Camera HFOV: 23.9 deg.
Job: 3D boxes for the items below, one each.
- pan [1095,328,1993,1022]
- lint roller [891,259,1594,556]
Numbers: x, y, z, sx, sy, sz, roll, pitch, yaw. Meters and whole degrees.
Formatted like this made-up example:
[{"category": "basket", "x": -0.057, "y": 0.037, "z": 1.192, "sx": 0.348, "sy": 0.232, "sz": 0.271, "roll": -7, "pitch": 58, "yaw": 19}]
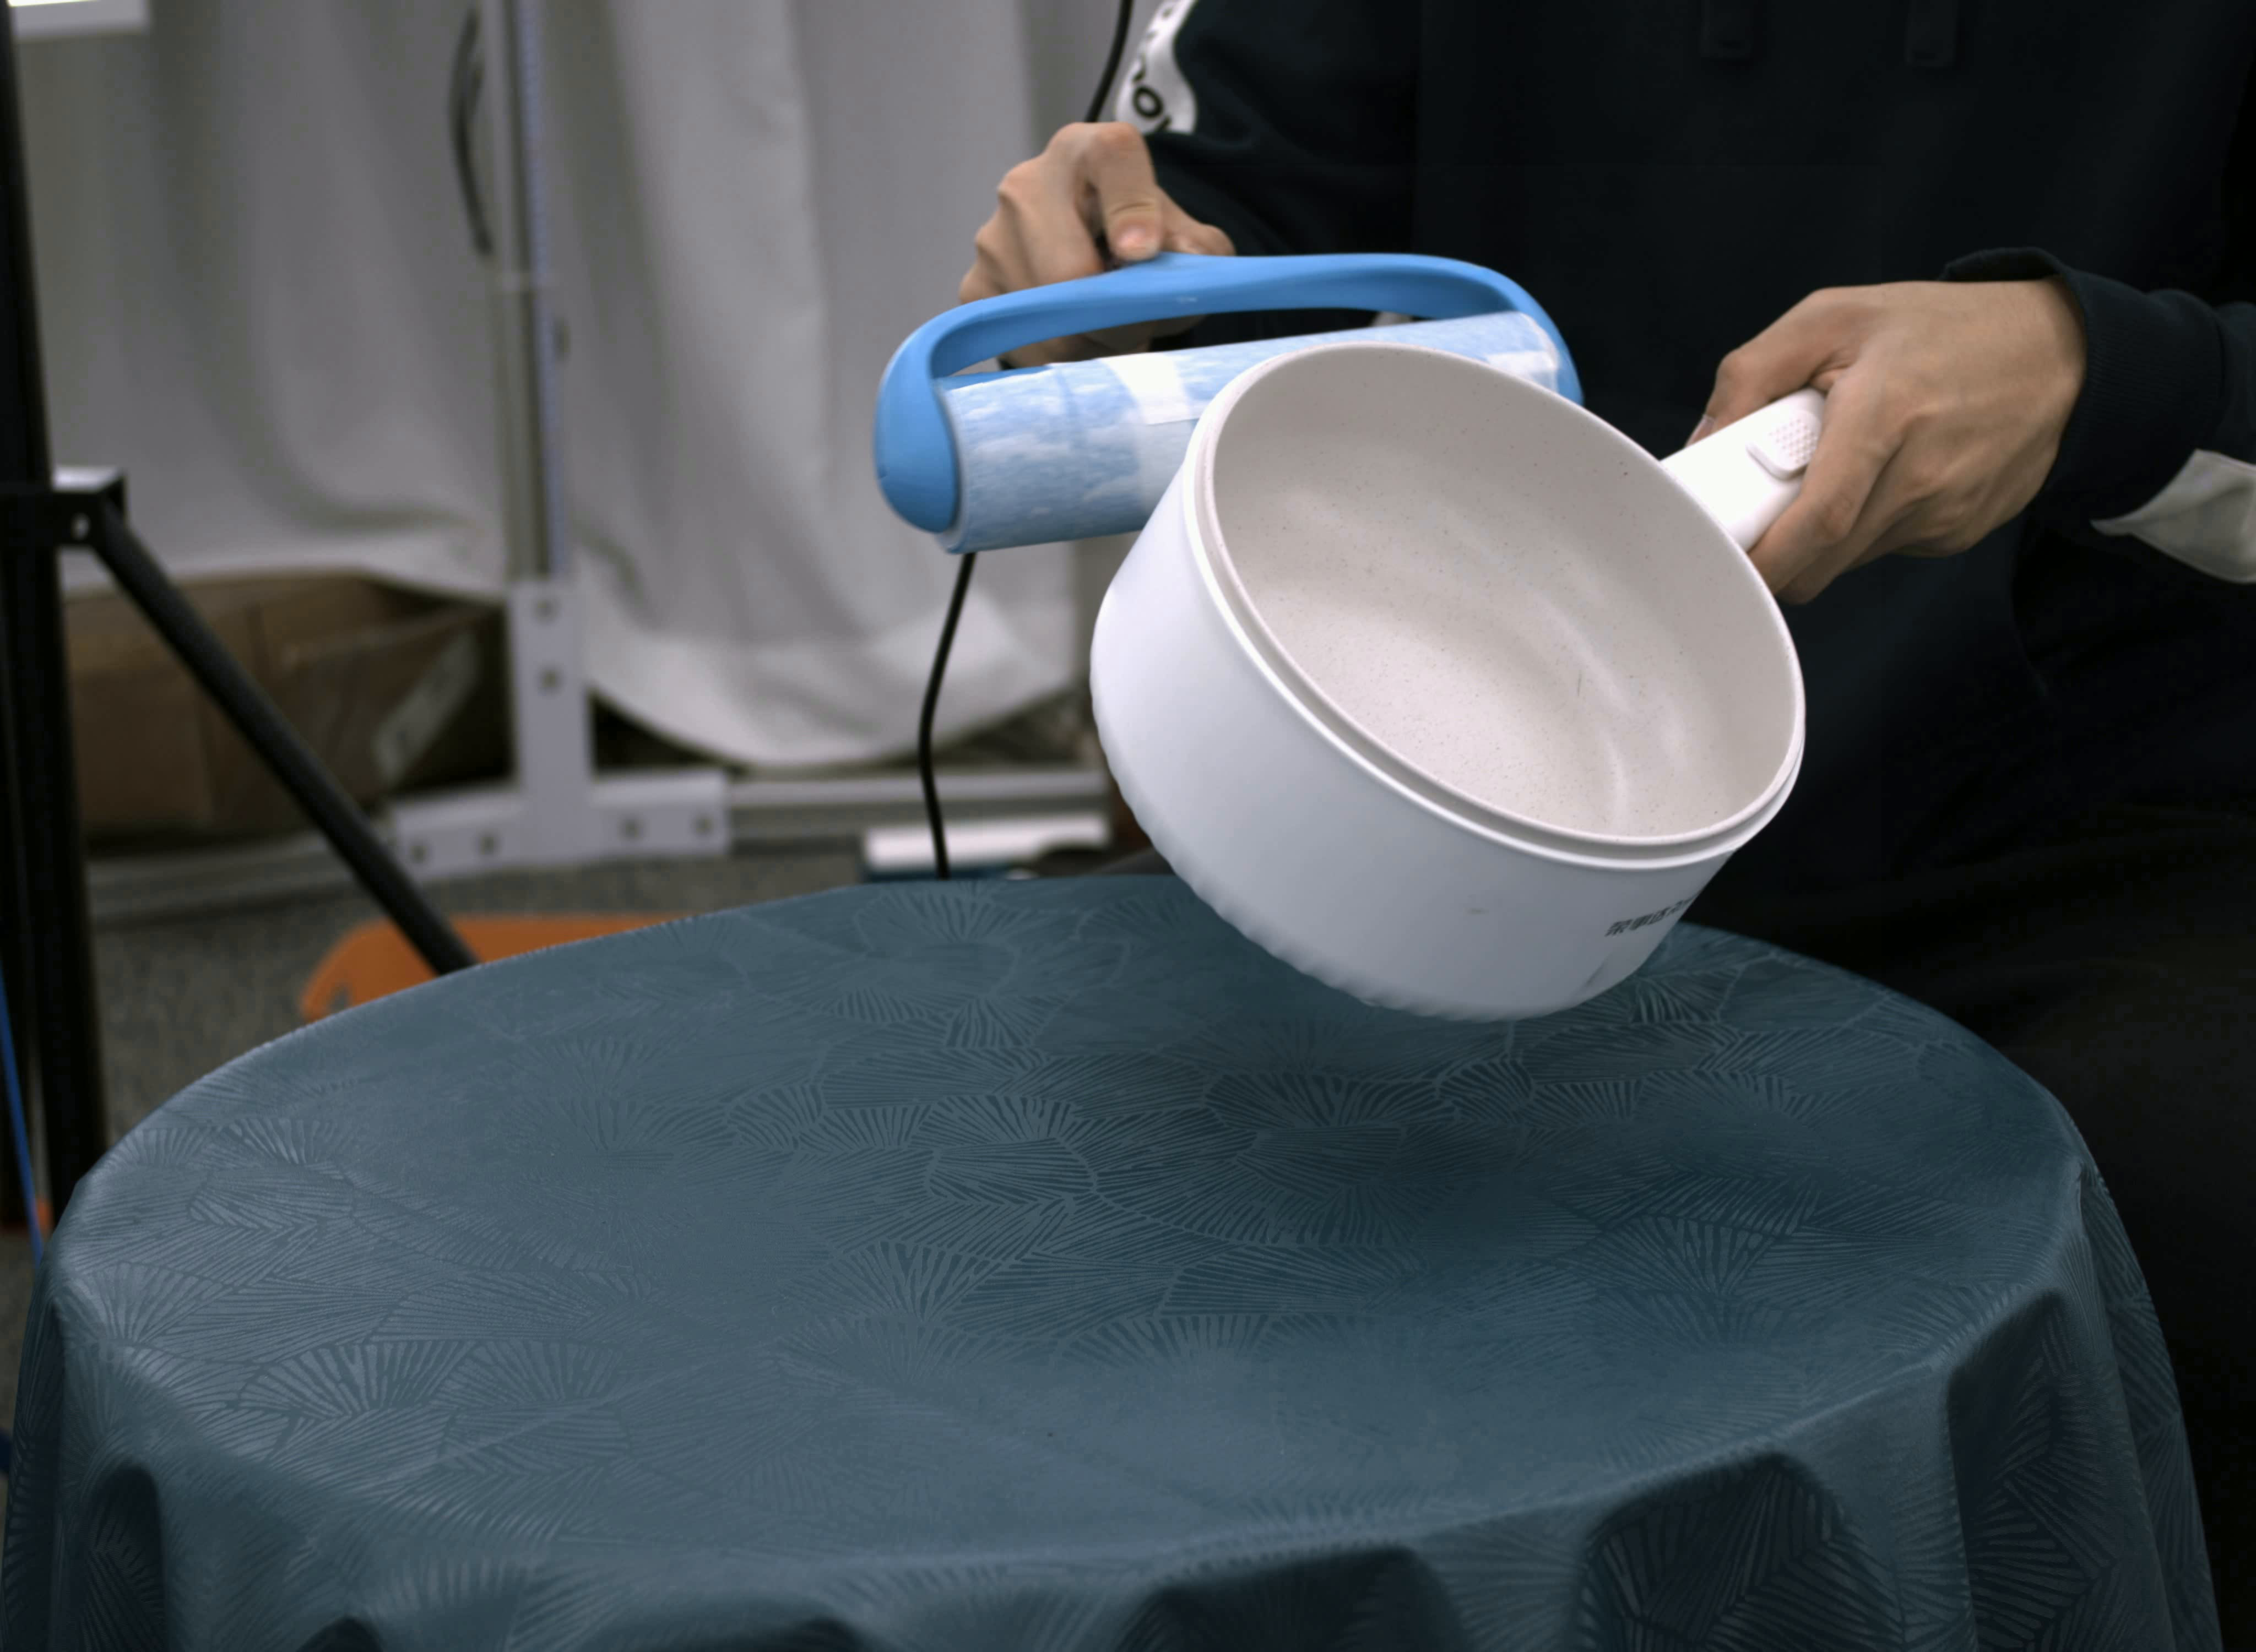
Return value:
[{"category": "pan", "x": 0.136, "y": -0.062, "z": 1.601, "sx": 0.204, "sy": 0.103, "sz": 0.348, "roll": 47, "pitch": 42, "yaw": 16}, {"category": "lint roller", "x": 0.013, "y": -0.146, "z": 1.676, "sx": 0.225, "sy": 0.068, "sz": 0.184, "roll": -10, "pitch": 28, "yaw": -20}]
